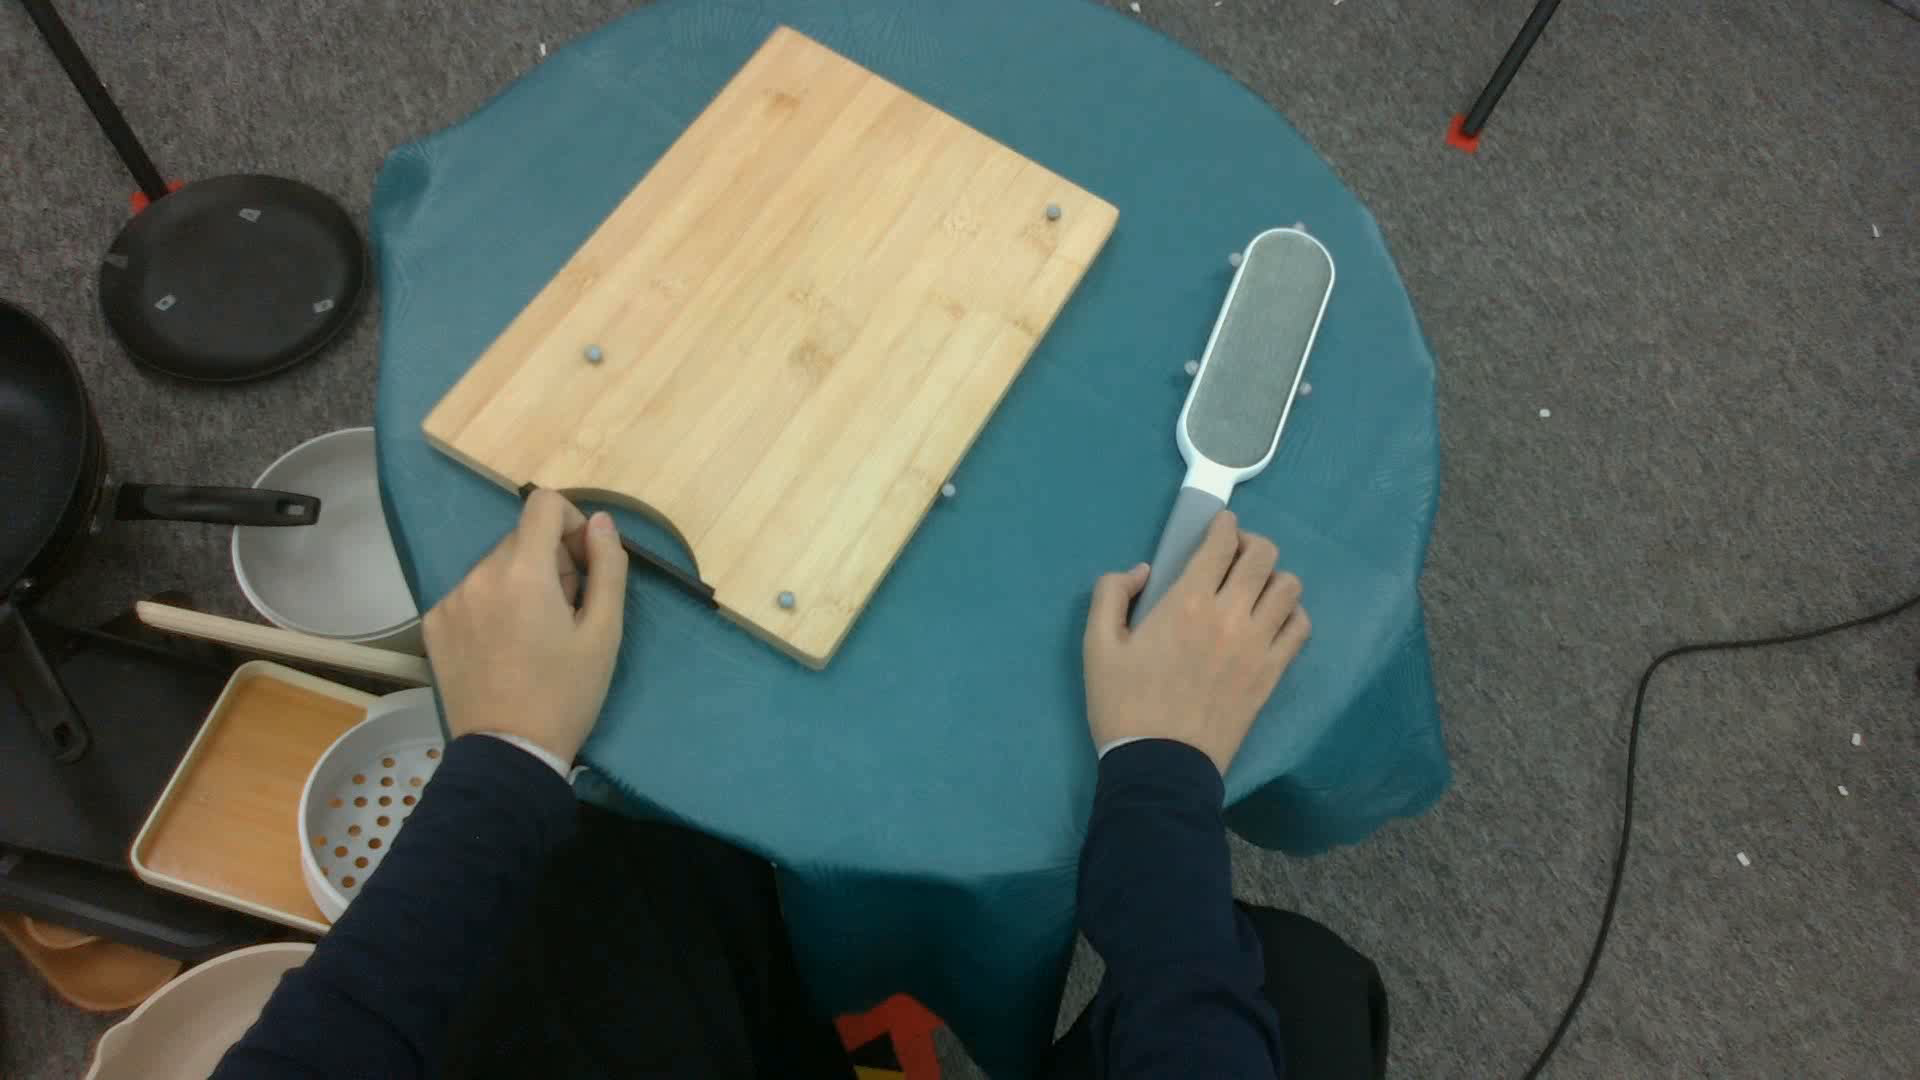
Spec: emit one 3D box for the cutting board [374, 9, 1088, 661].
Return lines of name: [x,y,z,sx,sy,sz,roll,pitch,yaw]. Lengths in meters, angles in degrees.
cutting board: [-0.109,-0.132,0.767,0.251,0.023,0.350,29,64,5]

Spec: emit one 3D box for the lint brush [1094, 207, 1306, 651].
lint brush: [0.134,-0.072,0.776,0.060,0.021,0.310,26,64,-3]
